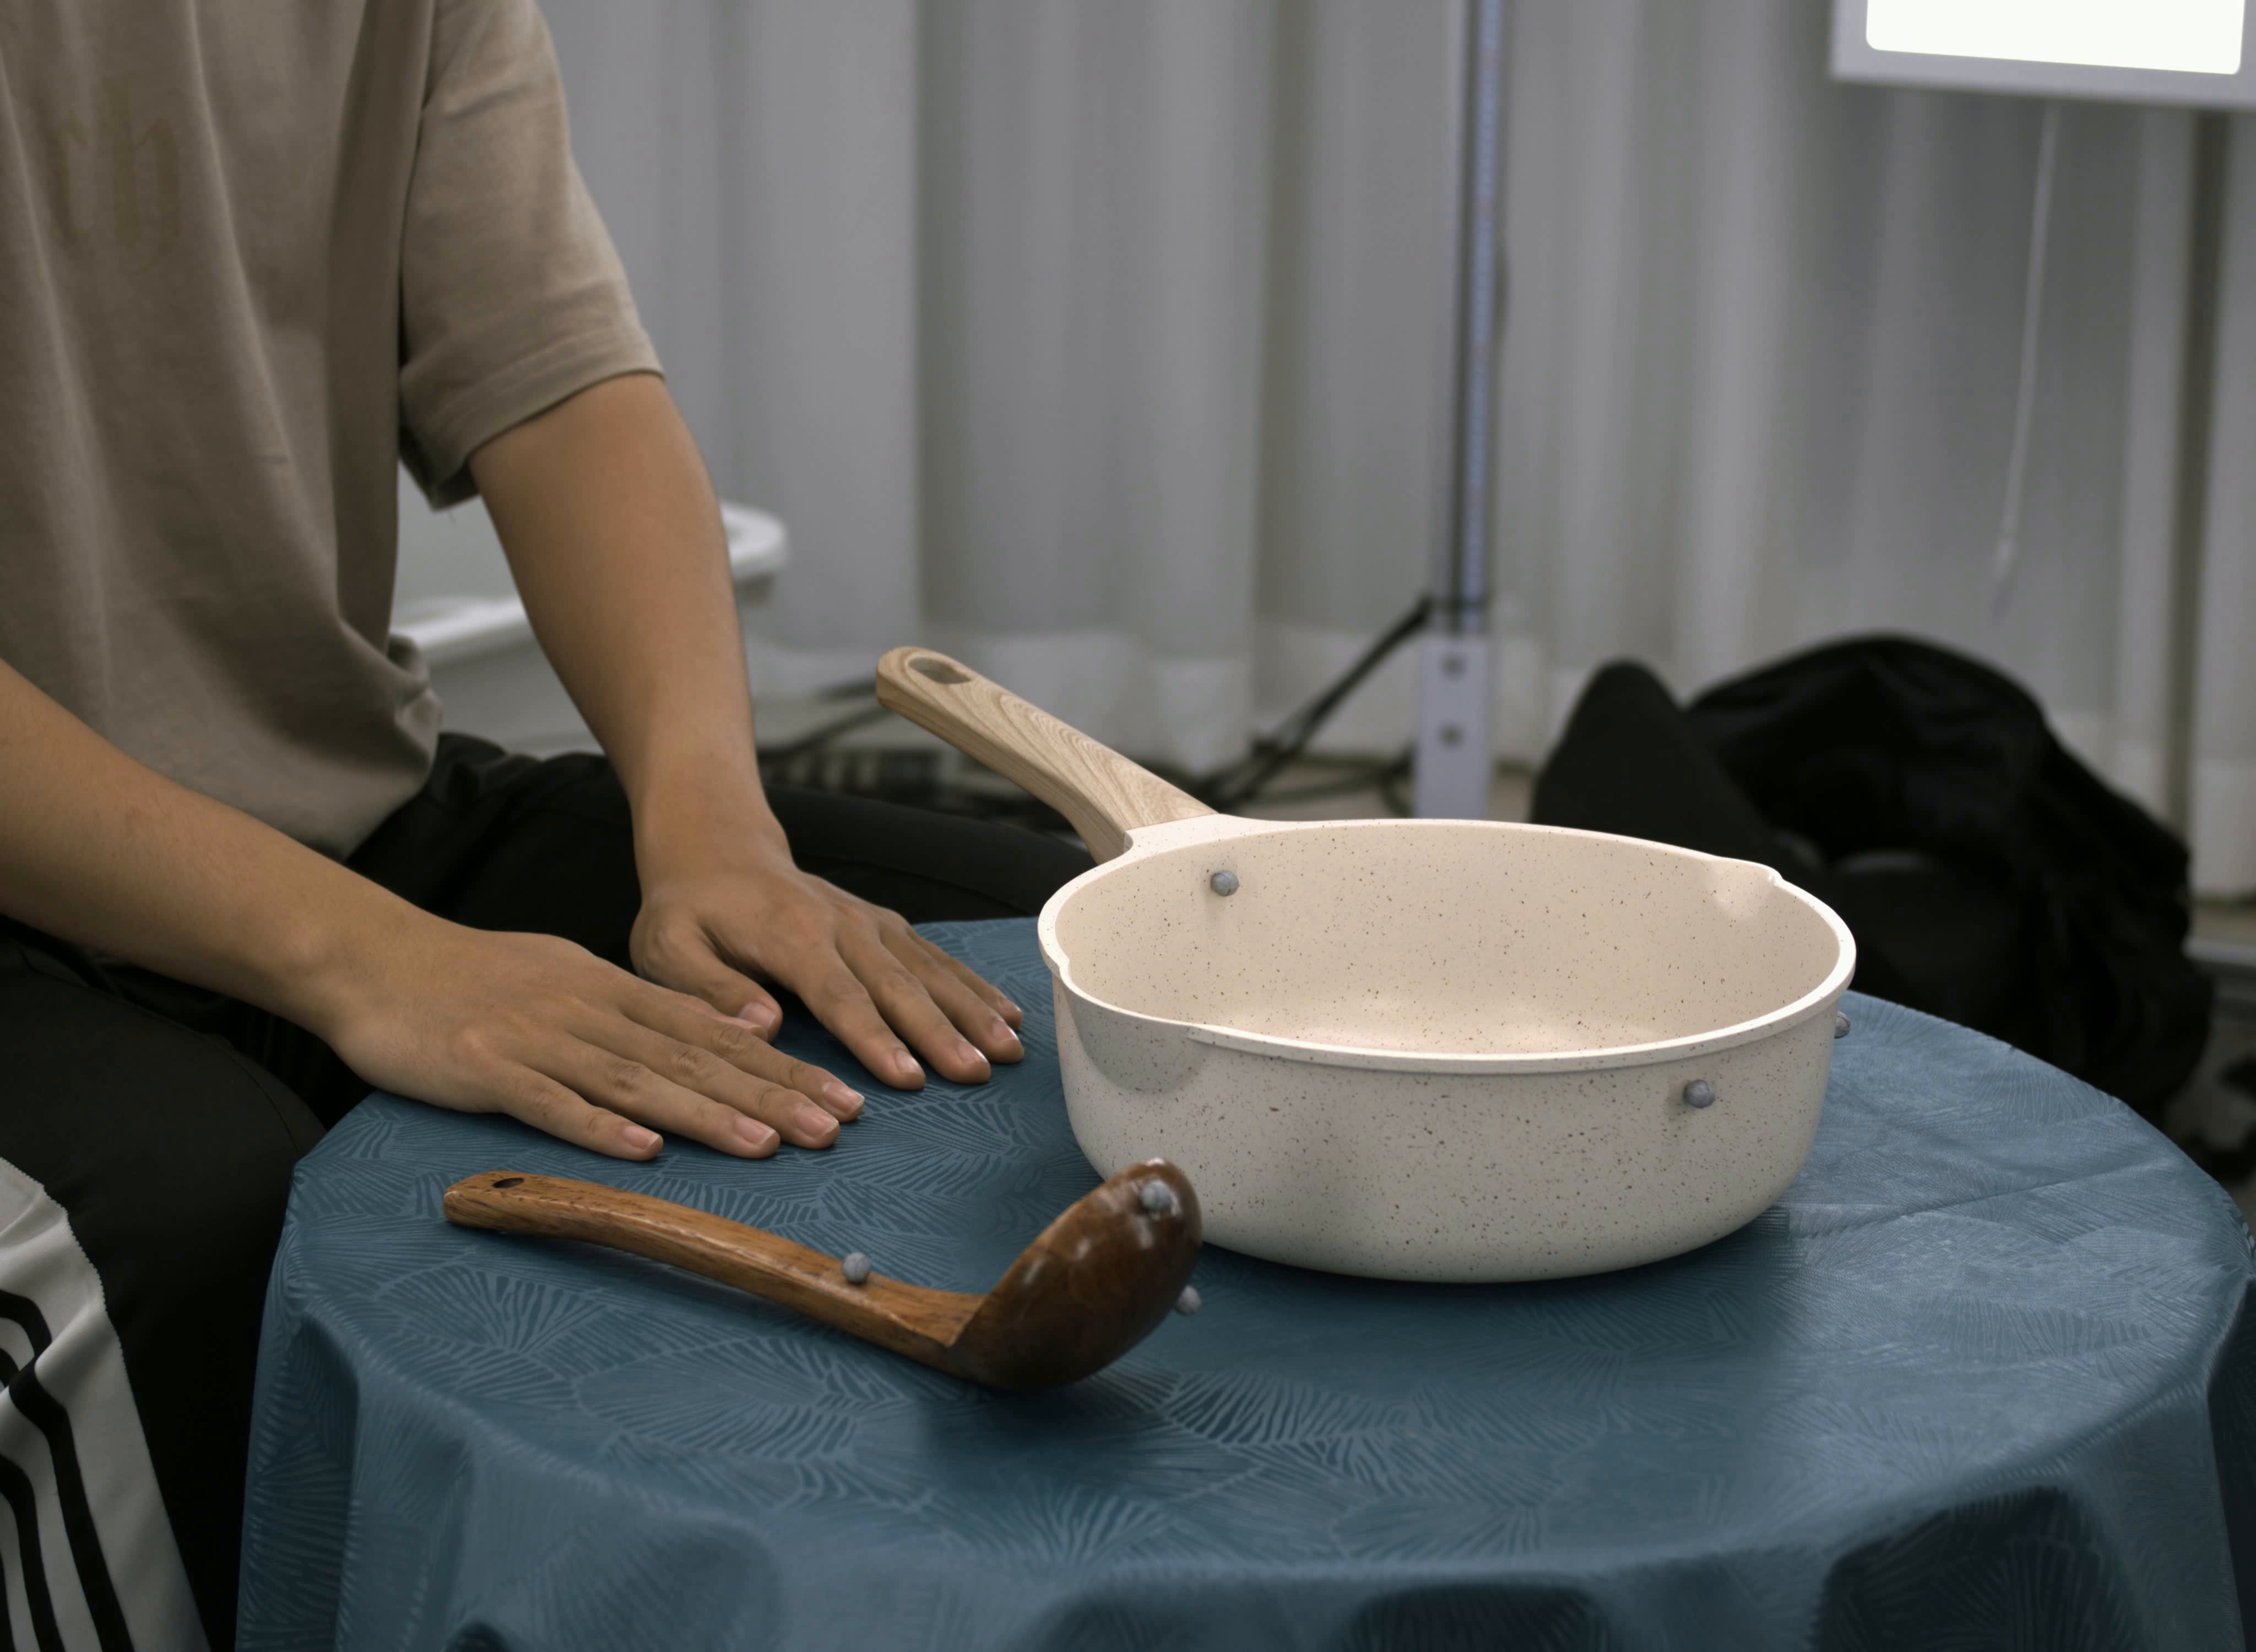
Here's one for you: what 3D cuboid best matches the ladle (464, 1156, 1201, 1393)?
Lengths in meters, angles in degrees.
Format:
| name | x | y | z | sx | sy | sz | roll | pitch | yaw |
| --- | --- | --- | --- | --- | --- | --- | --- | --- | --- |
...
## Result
| name | x | y | z | sx | sy | sz | roll | pitch | yaw |
| --- | --- | --- | --- | --- | --- | --- | --- | --- | --- |
| ladle | -0.095 | 0.105 | 1.502 | 0.270 | 0.077 | 0.082 | 14 | 22 | 38 |

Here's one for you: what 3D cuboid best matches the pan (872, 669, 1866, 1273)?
| name | x | y | z | sx | sy | sz | roll | pitch | yaw |
| --- | --- | --- | --- | --- | --- | --- | --- | --- | --- |
| pan | 0.048 | 0.040 | 1.700 | 0.264 | 0.103 | 0.429 | -12 | 20 | -34 |
